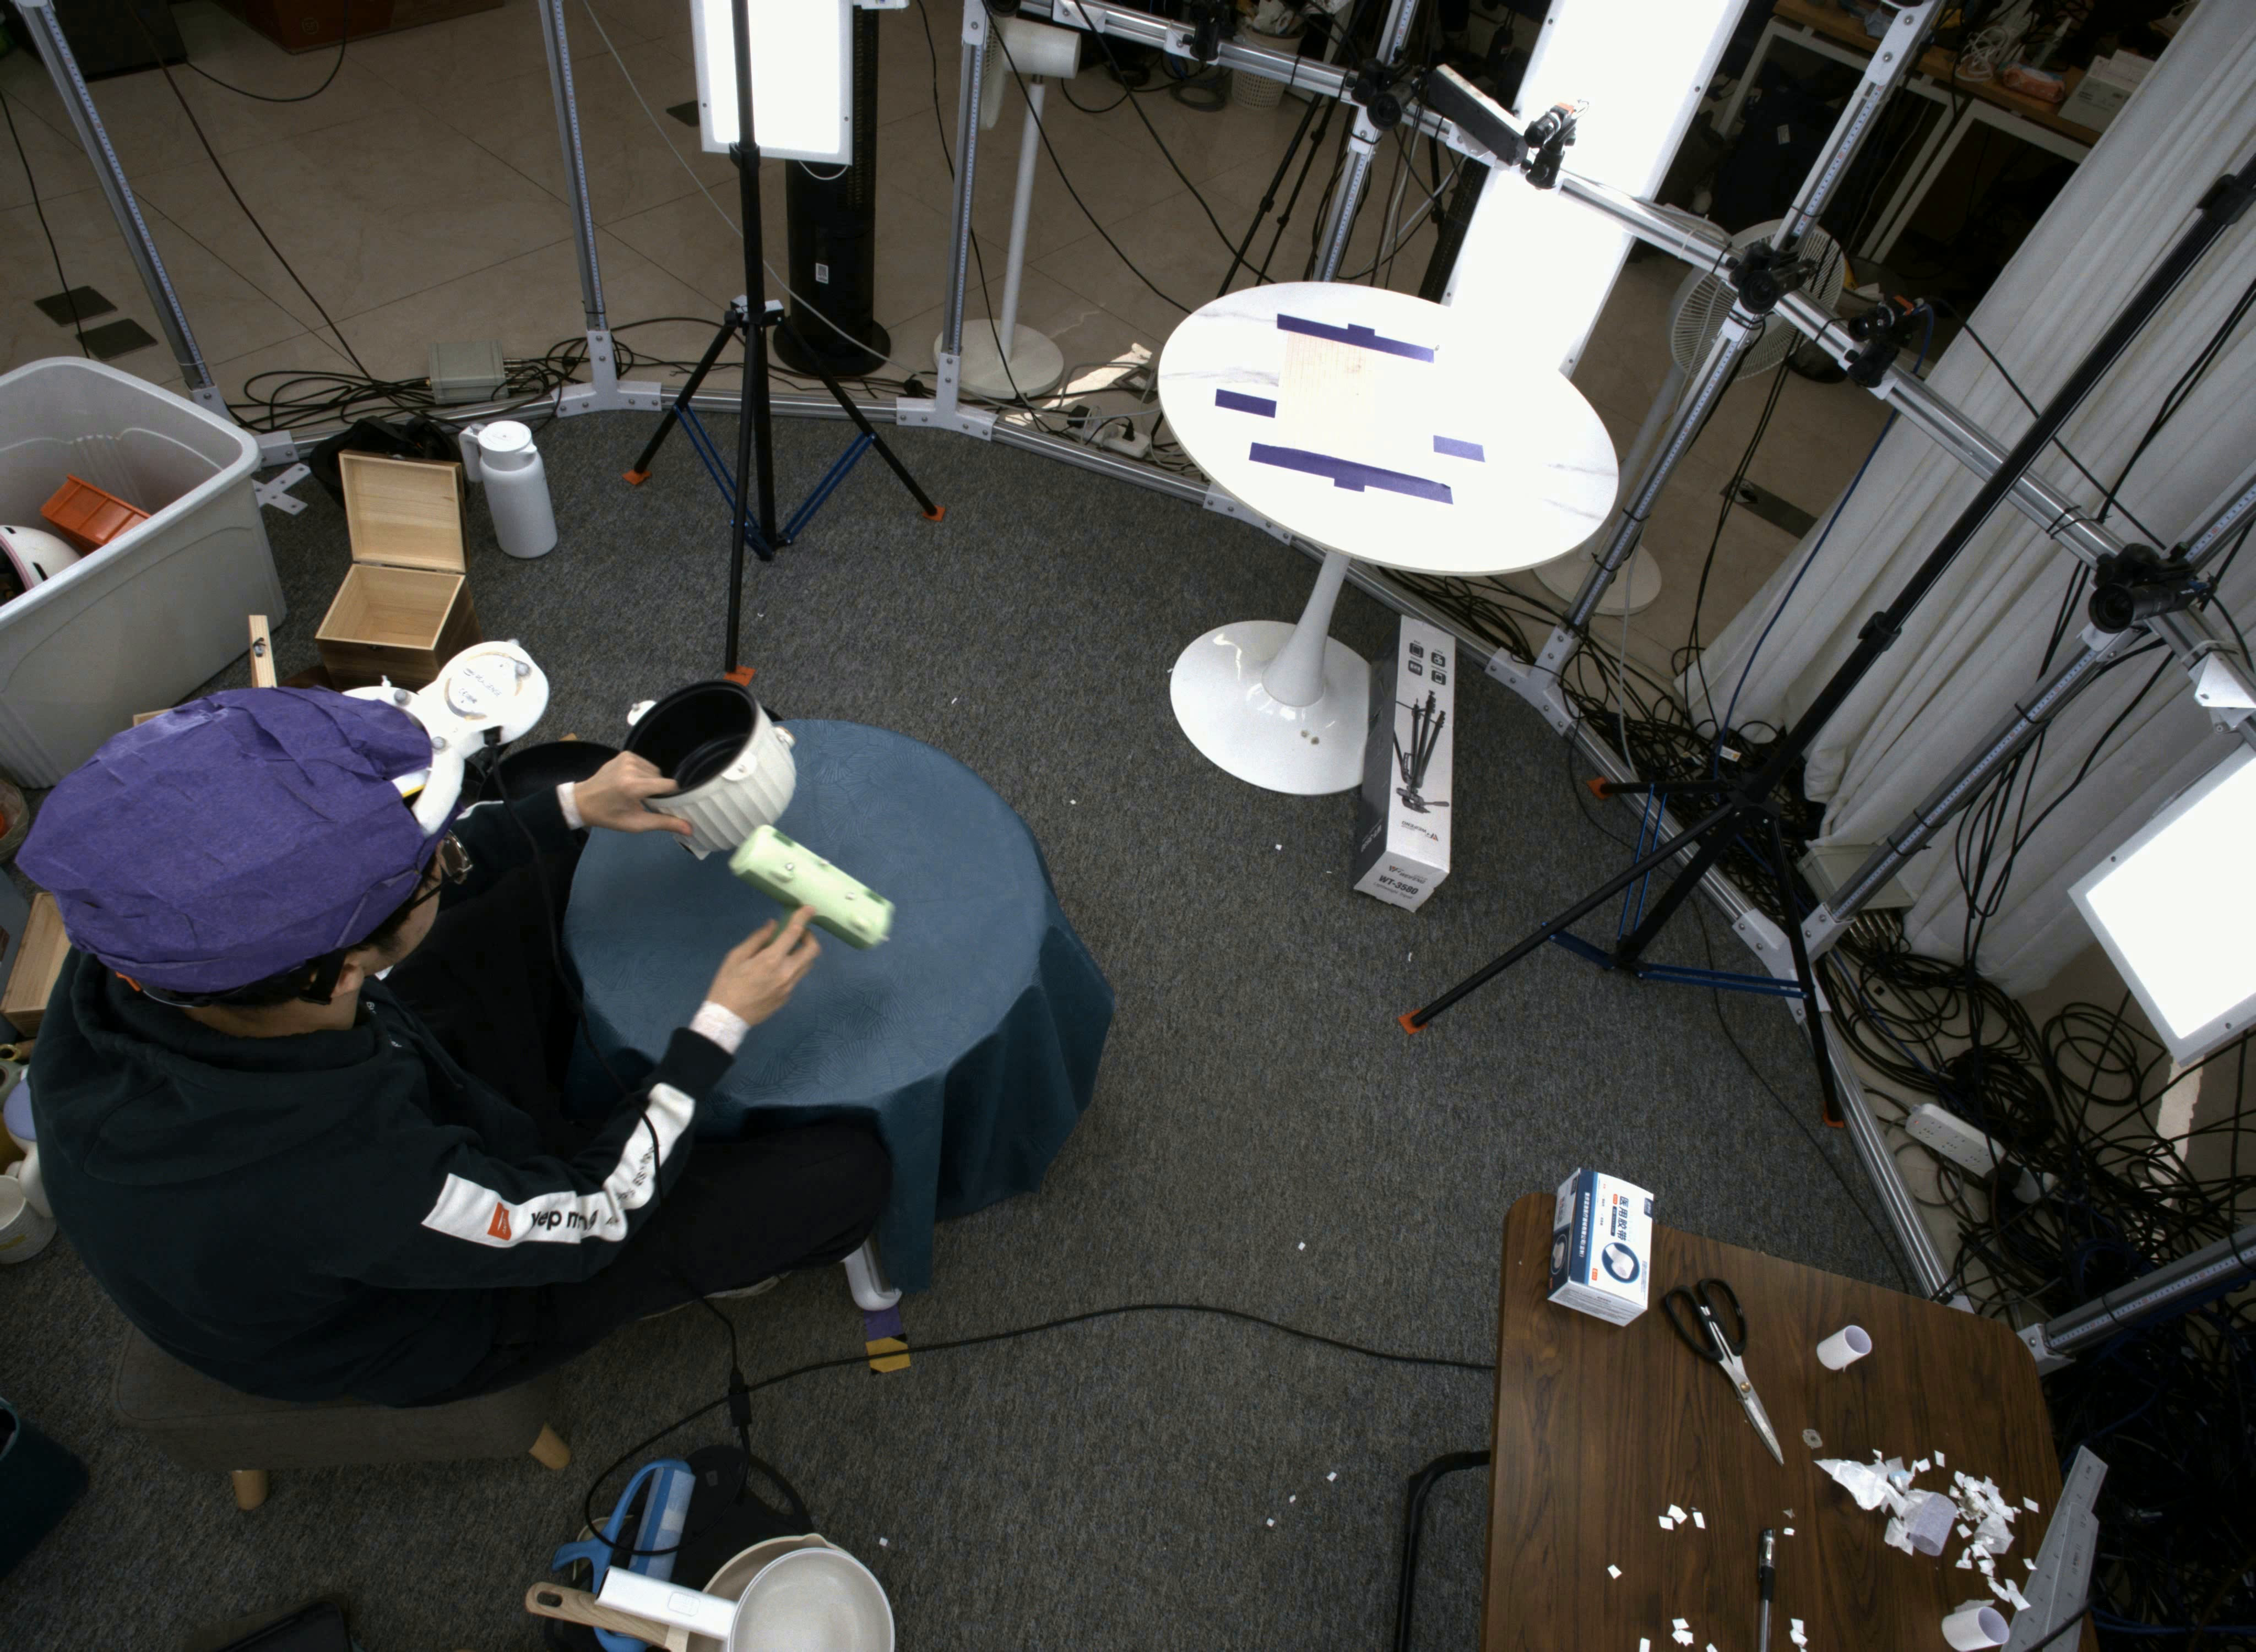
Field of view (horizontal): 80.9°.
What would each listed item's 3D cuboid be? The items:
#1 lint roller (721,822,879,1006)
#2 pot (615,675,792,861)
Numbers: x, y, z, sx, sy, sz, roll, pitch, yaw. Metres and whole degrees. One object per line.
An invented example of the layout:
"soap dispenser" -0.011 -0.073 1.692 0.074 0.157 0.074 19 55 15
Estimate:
"lint roller" -0.388 0.119 1.469 0.079 0.206 0.183 3 63 42
"pot" -0.499 -0.072 1.549 0.231 0.148 0.190 23 69 33
